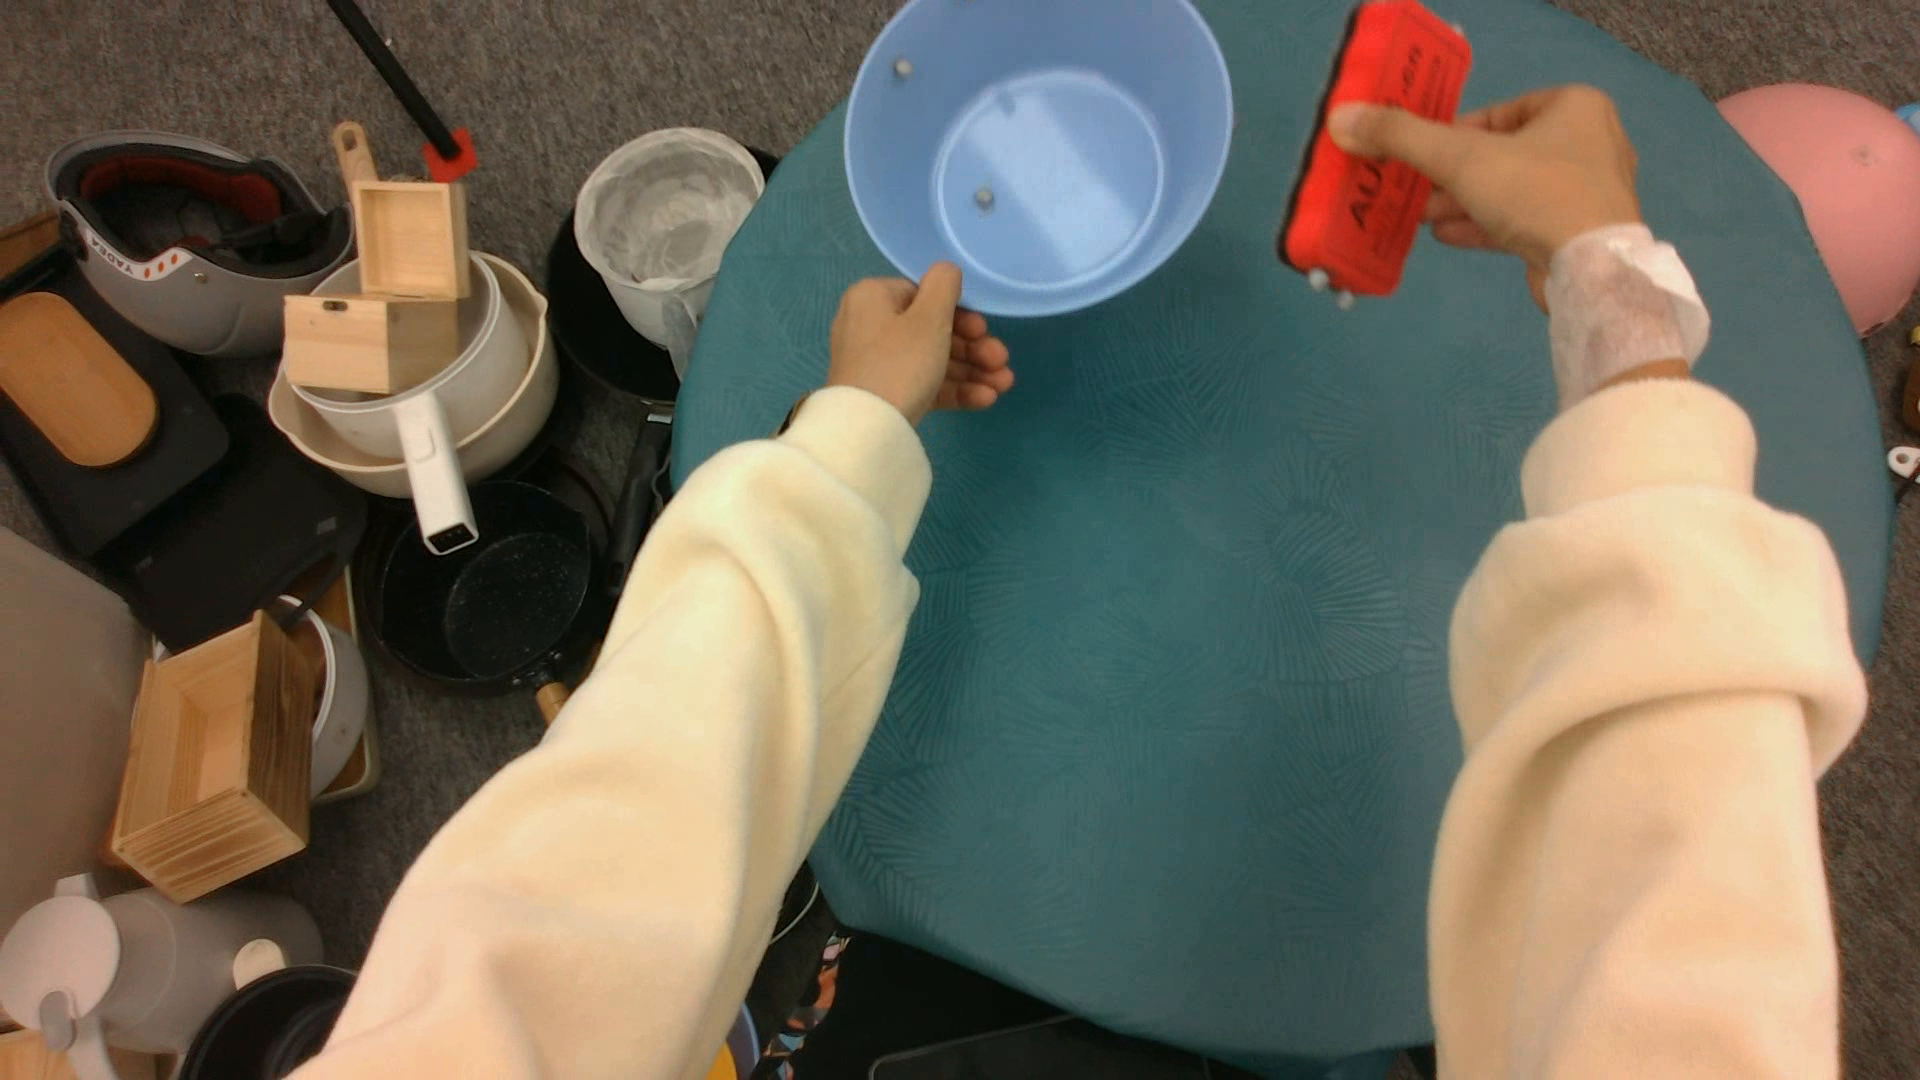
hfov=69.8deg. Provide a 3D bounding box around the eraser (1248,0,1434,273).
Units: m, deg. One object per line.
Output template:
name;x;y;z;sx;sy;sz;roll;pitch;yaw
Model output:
eraser;0.151;-0.164;0.542;0.023;0.059;0.108;18;92;46

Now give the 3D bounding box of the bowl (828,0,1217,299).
bowl;0.031;-0.189;0.645;0.176;0.070;0.176;-1;83;9
